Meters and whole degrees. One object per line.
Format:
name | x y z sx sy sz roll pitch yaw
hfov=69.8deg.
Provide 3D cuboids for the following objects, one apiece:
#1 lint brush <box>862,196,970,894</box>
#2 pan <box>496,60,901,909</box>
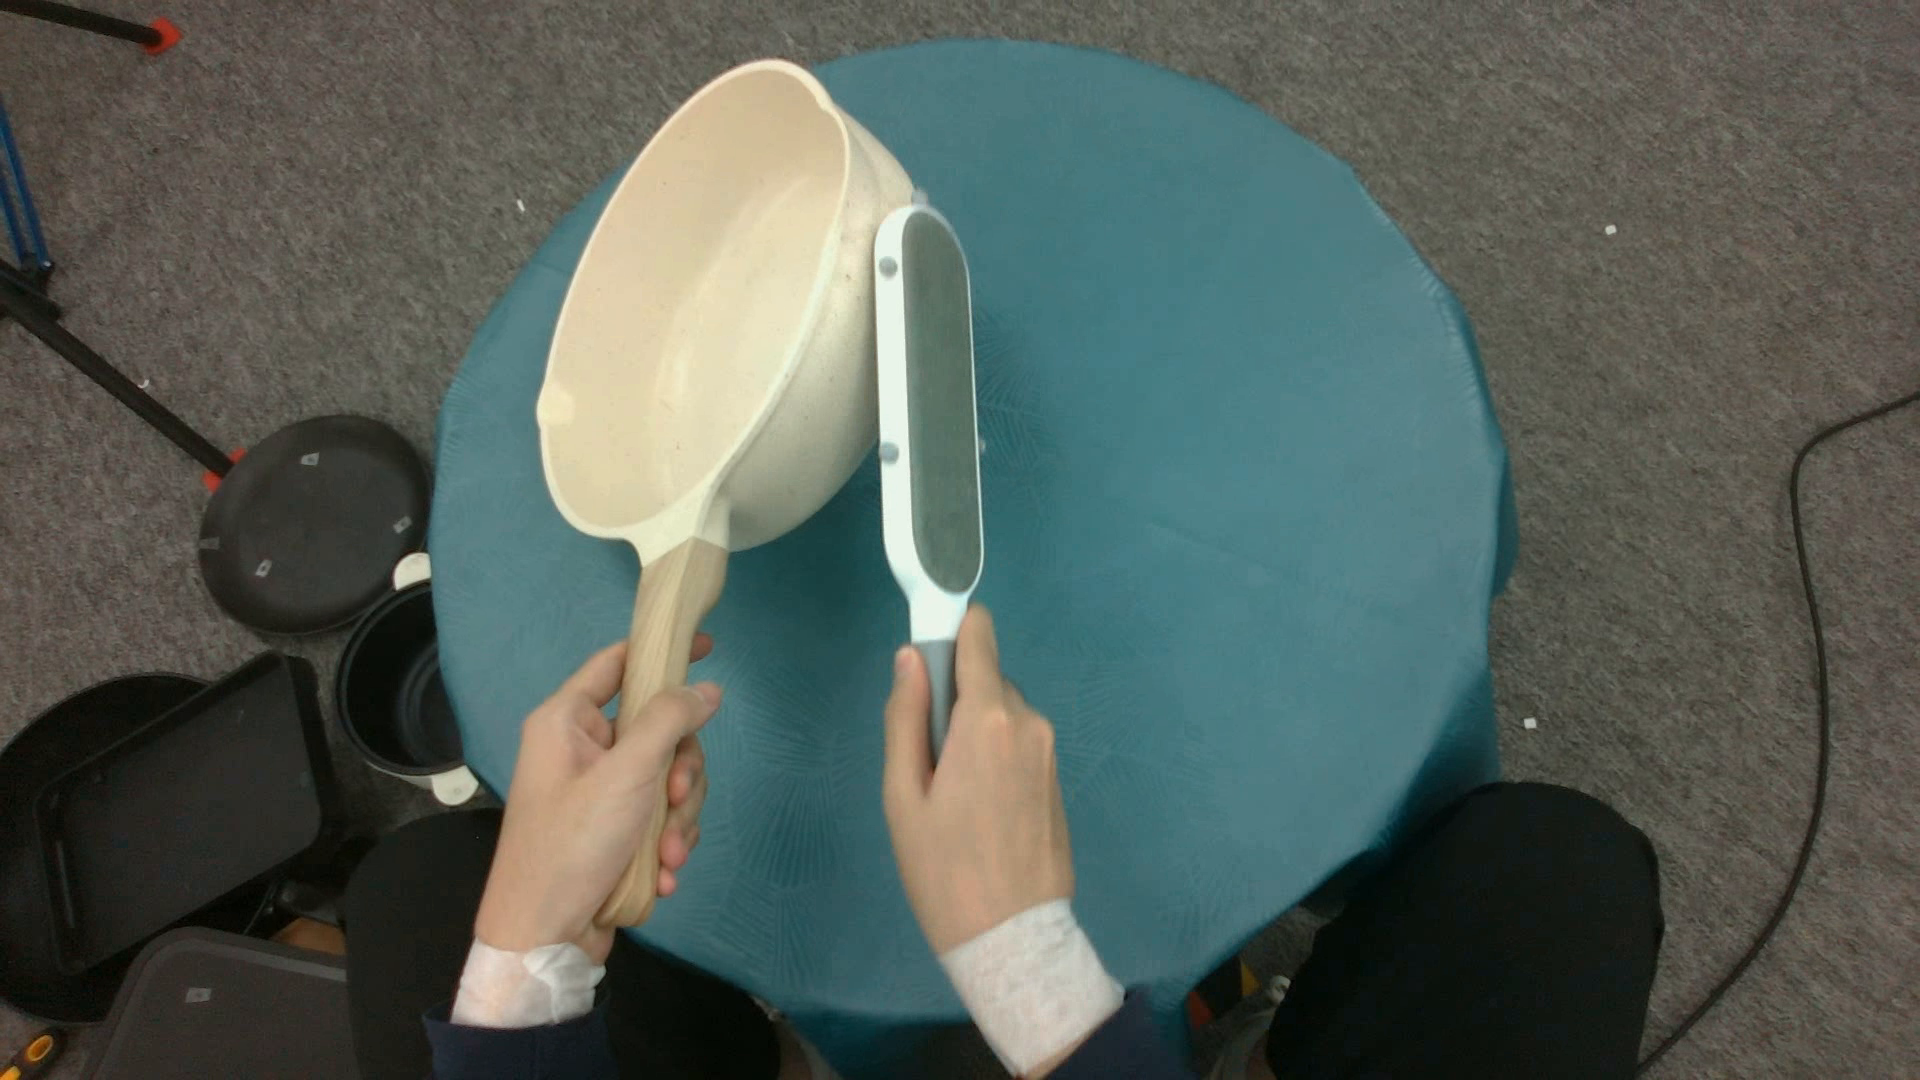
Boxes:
lint brush | -0.017 -0.006 0.597 0.021 0.060 0.309 -11 74 30
pan | -0.126 -0.035 0.662 0.262 0.102 0.436 -25 56 32
